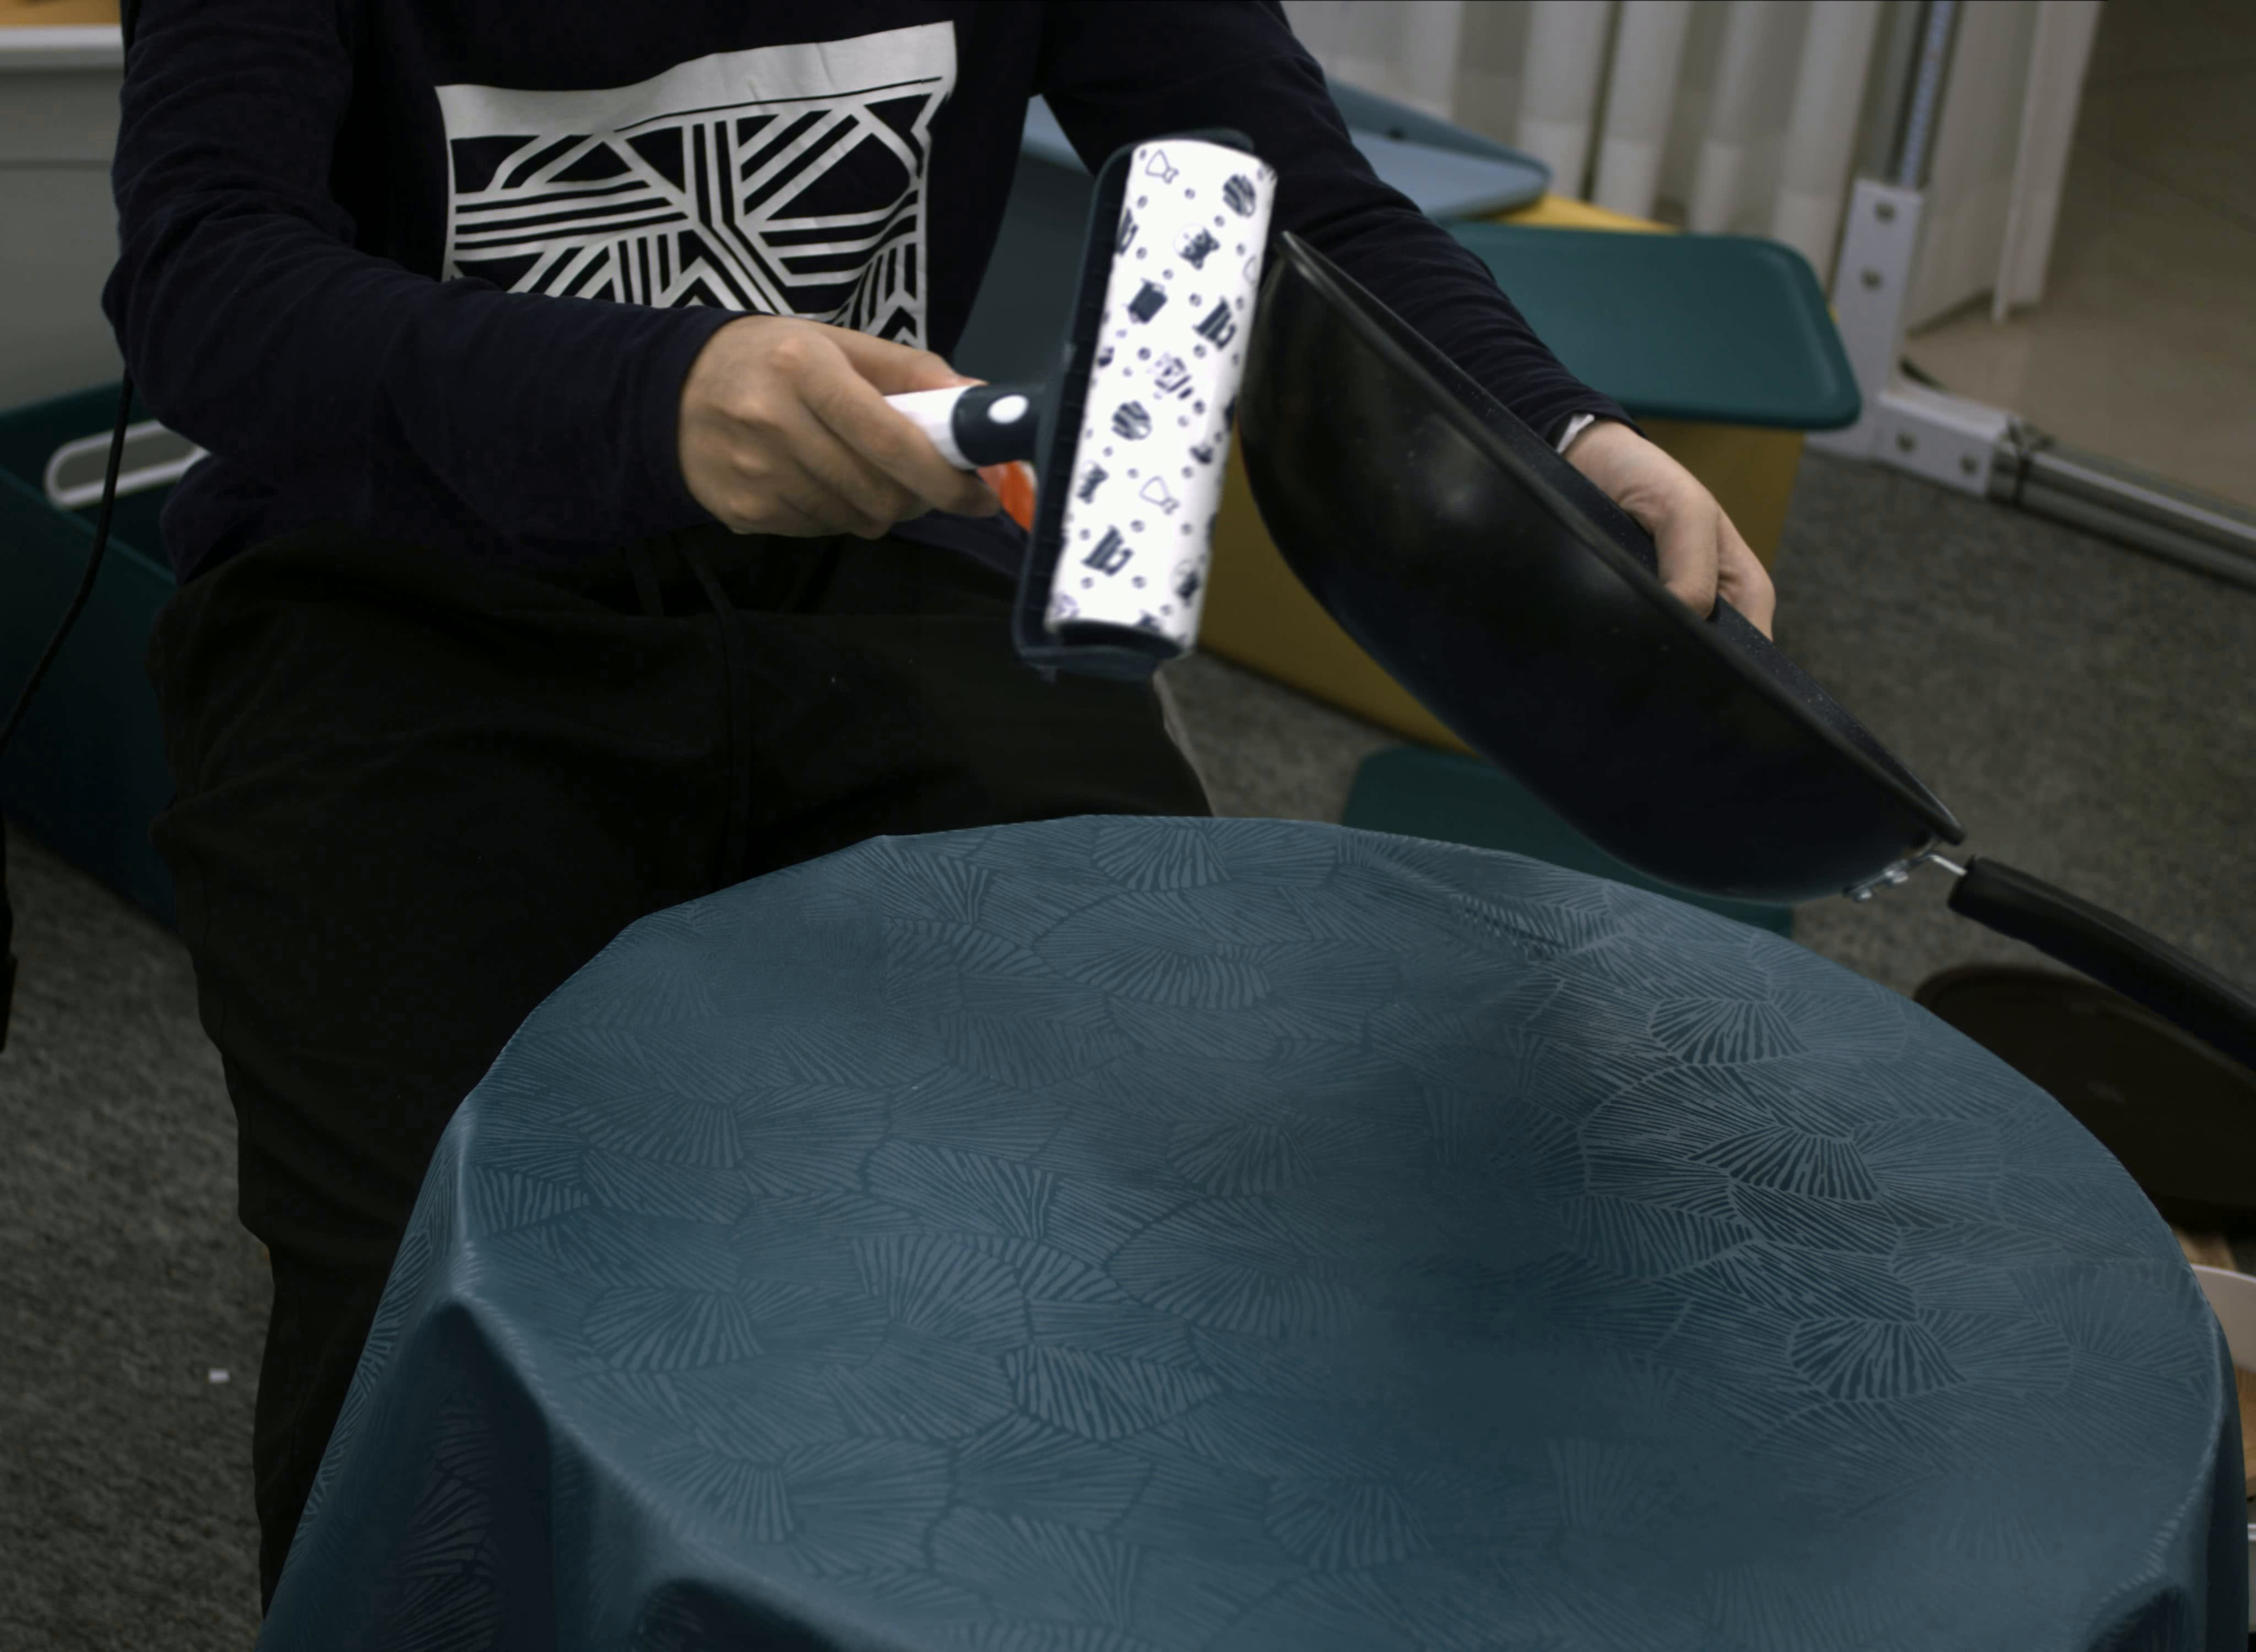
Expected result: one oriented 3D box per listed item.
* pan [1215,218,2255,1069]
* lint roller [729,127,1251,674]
[{"bbox_3d":[0.206,-0.026,1.791,0.477,0.111,0.310,41,8,4],"label":"pan"},{"bbox_3d":[-0.061,-0.131,1.775,0.050,0.177,0.248,20,-15,-38],"label":"lint roller"}]
